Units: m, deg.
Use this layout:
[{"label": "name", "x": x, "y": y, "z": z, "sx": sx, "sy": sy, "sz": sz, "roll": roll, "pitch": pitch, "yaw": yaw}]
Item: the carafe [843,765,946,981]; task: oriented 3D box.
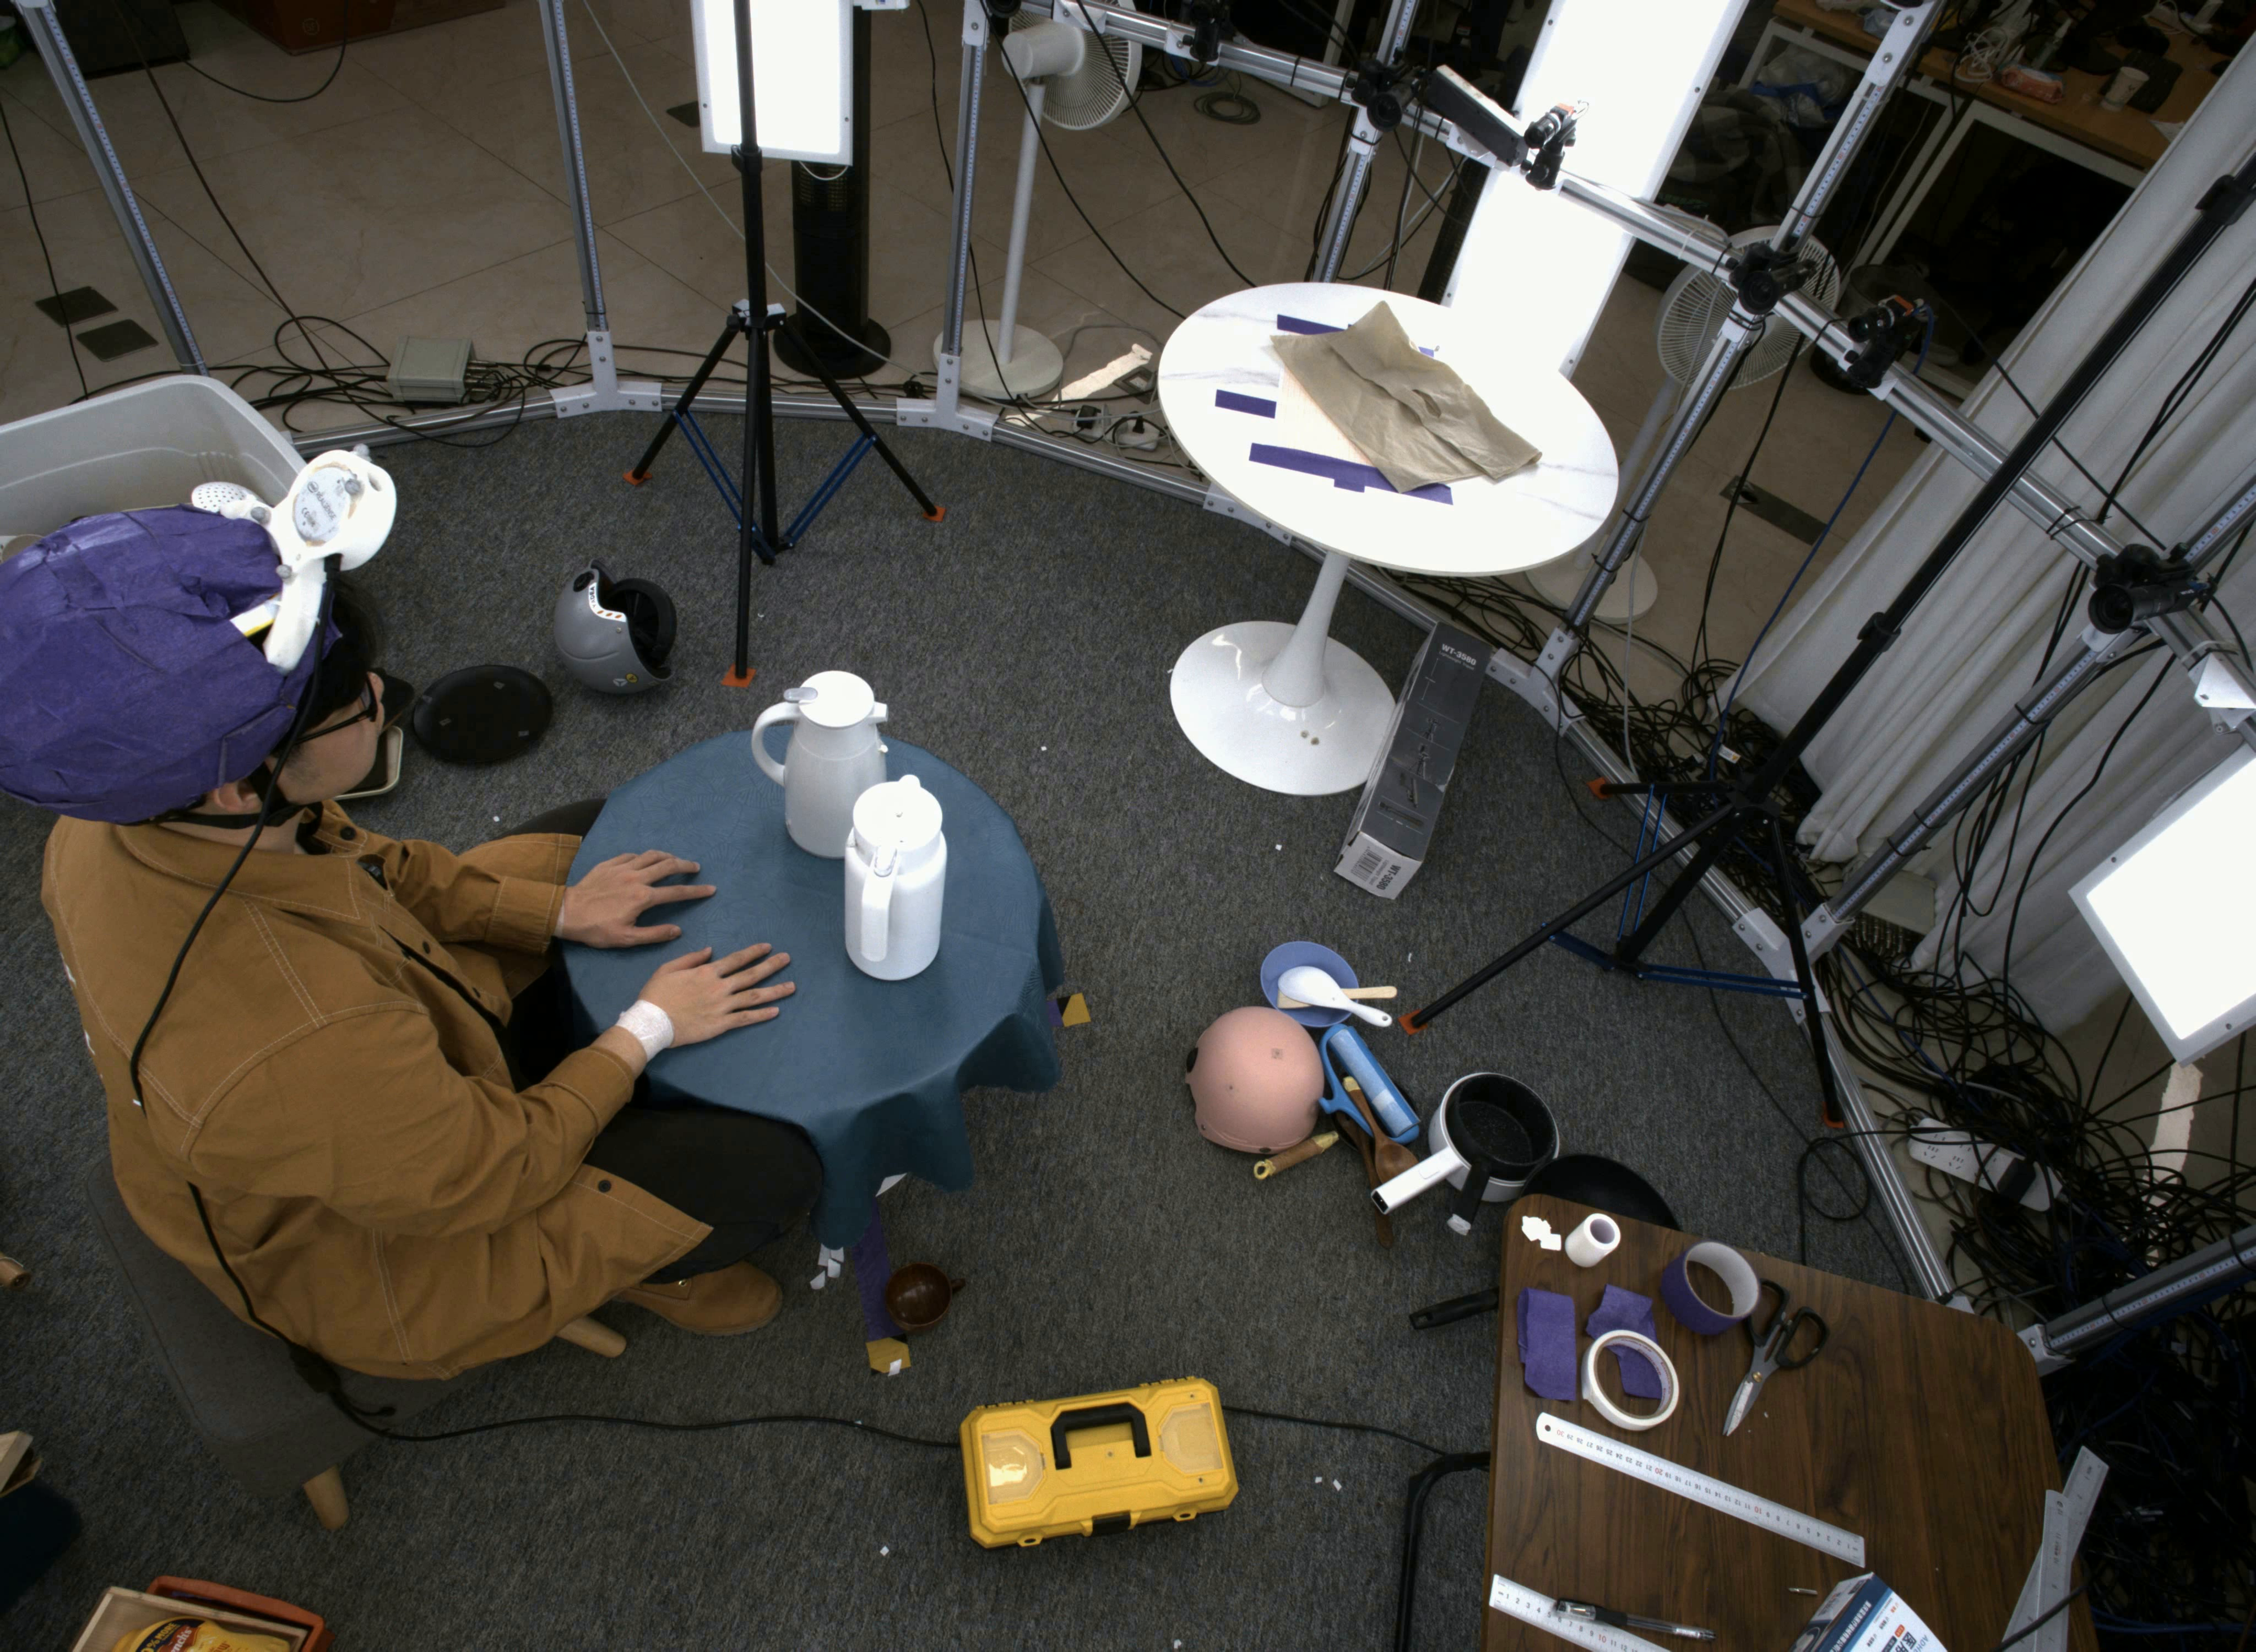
[{"label": "carafe", "x": -0.277, "y": 0.078, "z": 1.528, "sx": 0.123, "sy": 0.274, "sz": 0.170, "roll": 11, "pitch": 51, "yaw": -5}]

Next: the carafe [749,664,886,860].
[{"label": "carafe", "x": -0.390, "y": -0.087, "z": 1.634, "sx": 0.167, "sy": 0.254, "sz": 0.130, "roll": 2, "pitch": 52, "yaw": -10}]
